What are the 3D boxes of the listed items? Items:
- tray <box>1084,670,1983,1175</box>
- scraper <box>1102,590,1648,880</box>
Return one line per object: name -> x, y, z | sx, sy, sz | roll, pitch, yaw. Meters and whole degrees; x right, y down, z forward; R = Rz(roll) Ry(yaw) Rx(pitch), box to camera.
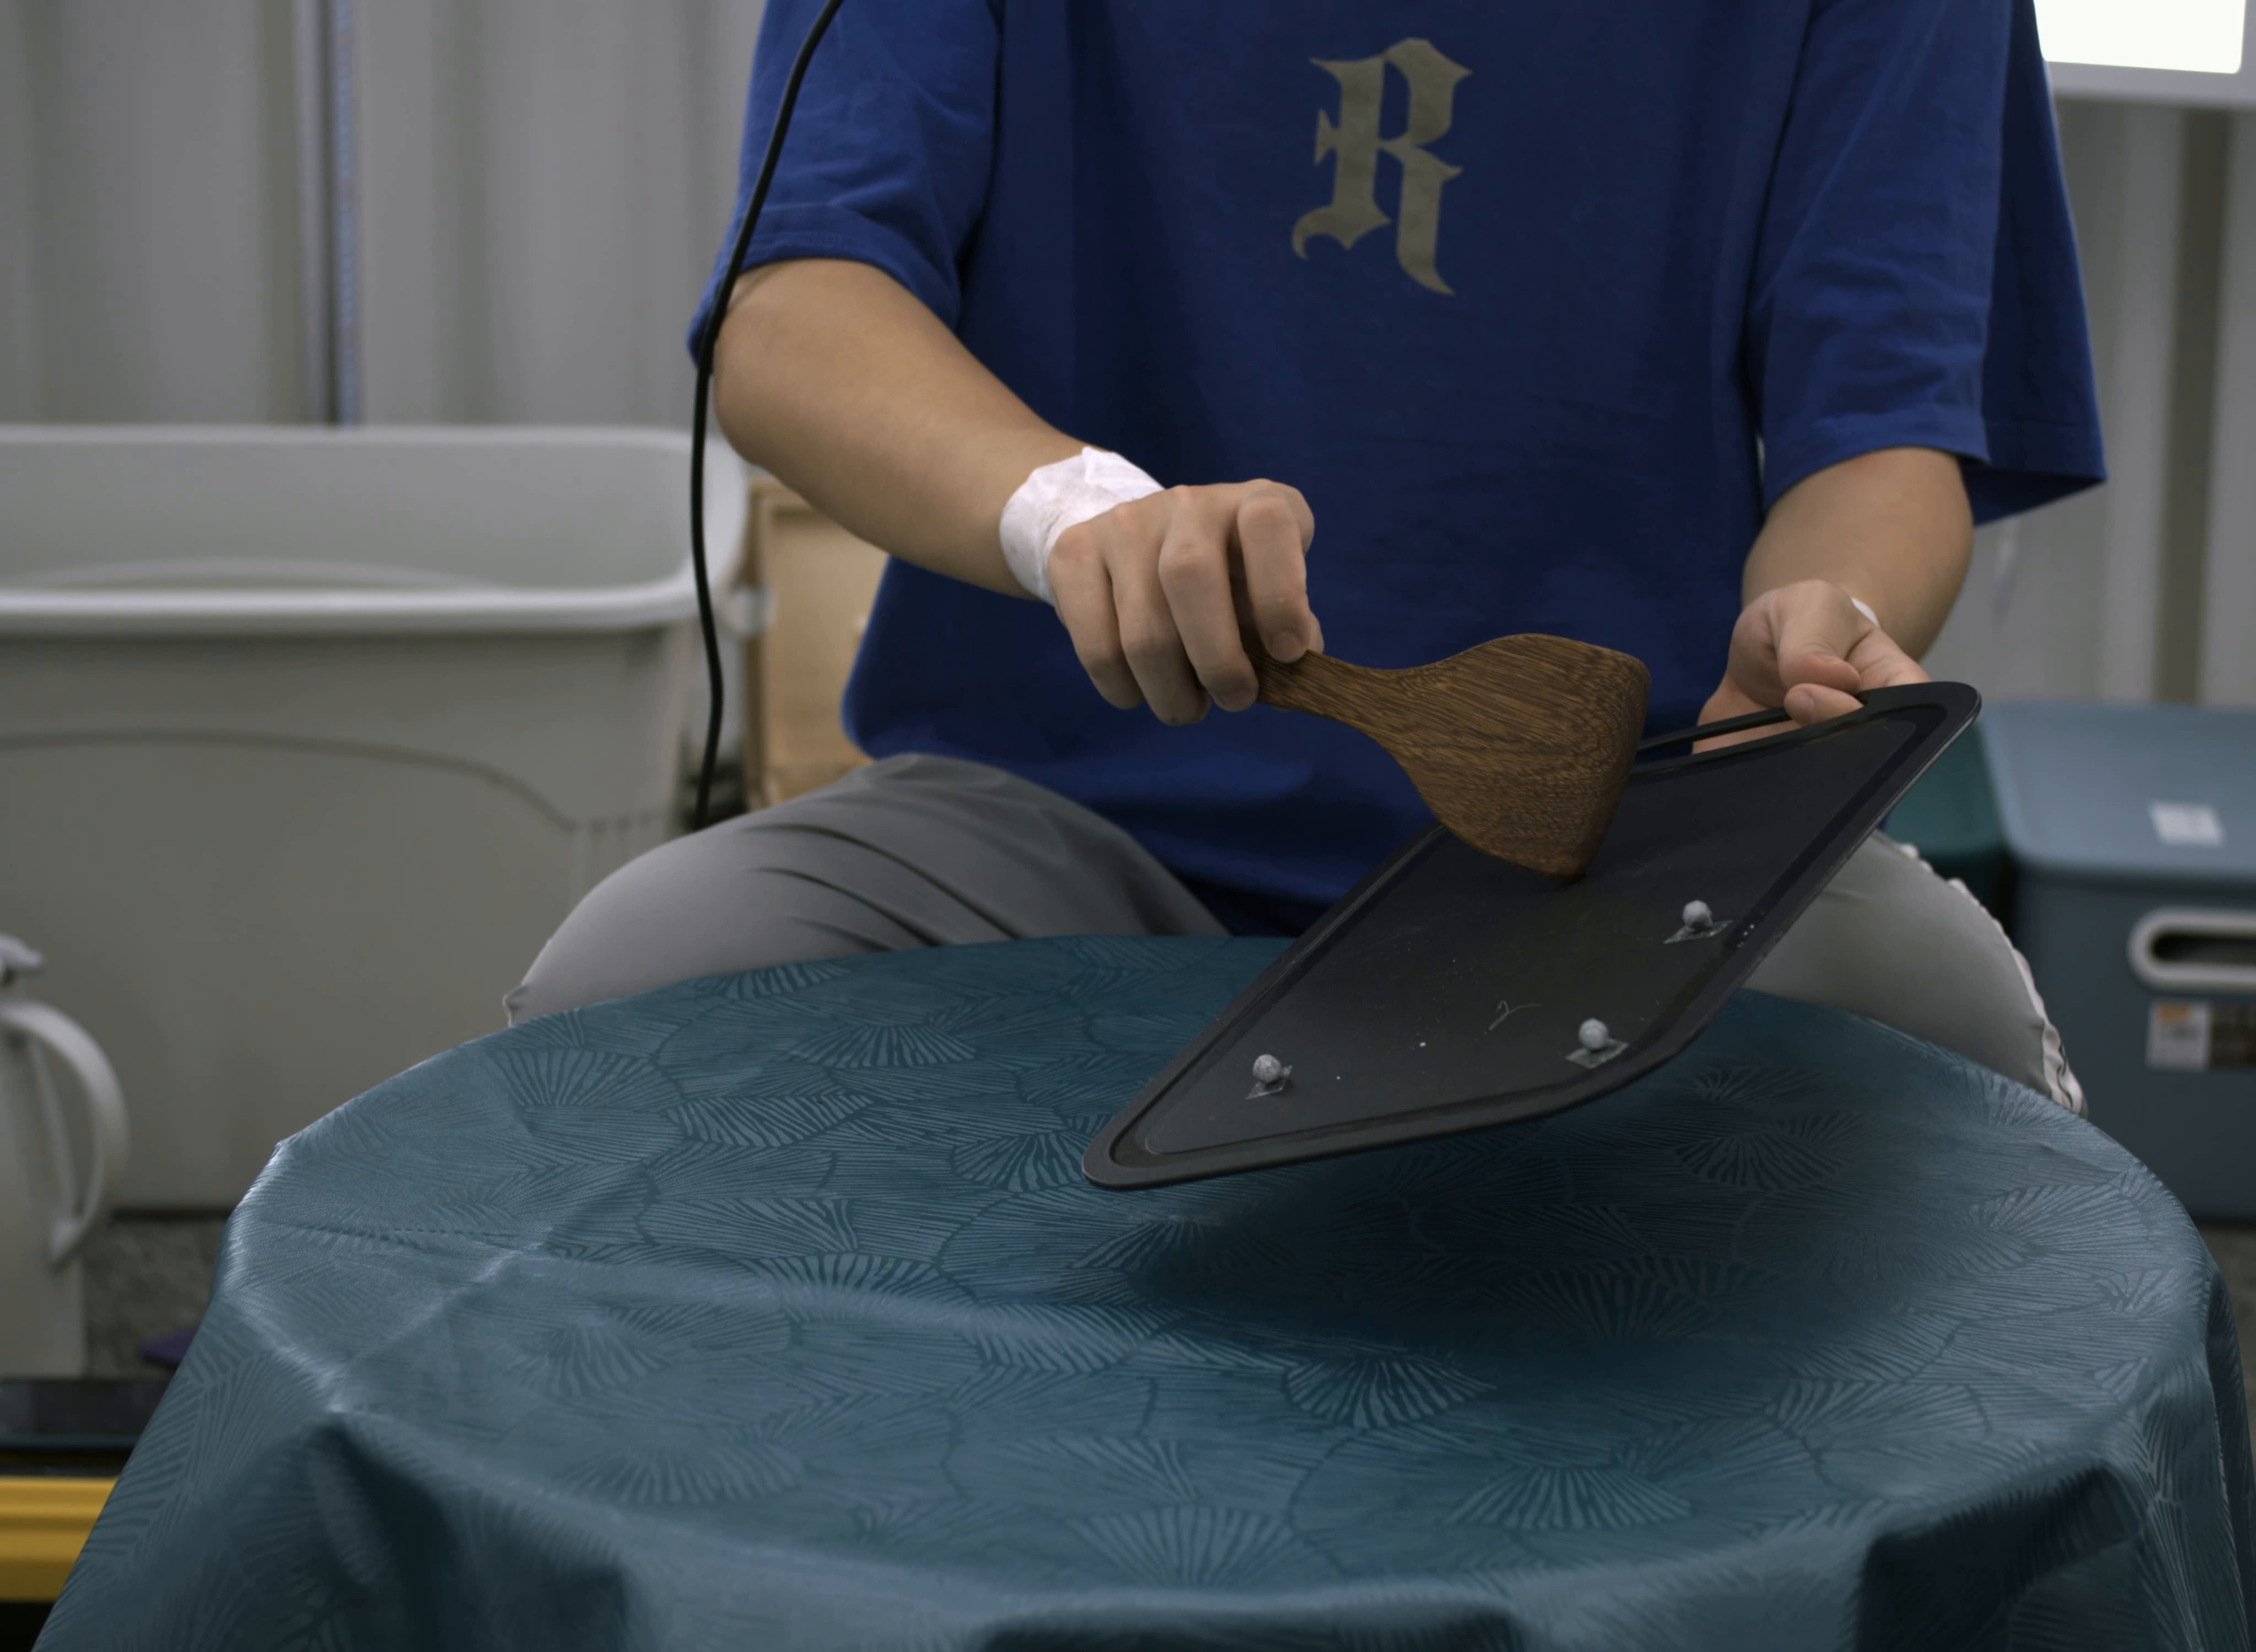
tray -> 0.129, 0.023, 1.599 | 0.209, 0.010, 0.325 | -13, 17, 35
scraper -> 0.072, -0.041, 1.667 | 0.208, 0.076, 0.011 | 17, 1, 38
